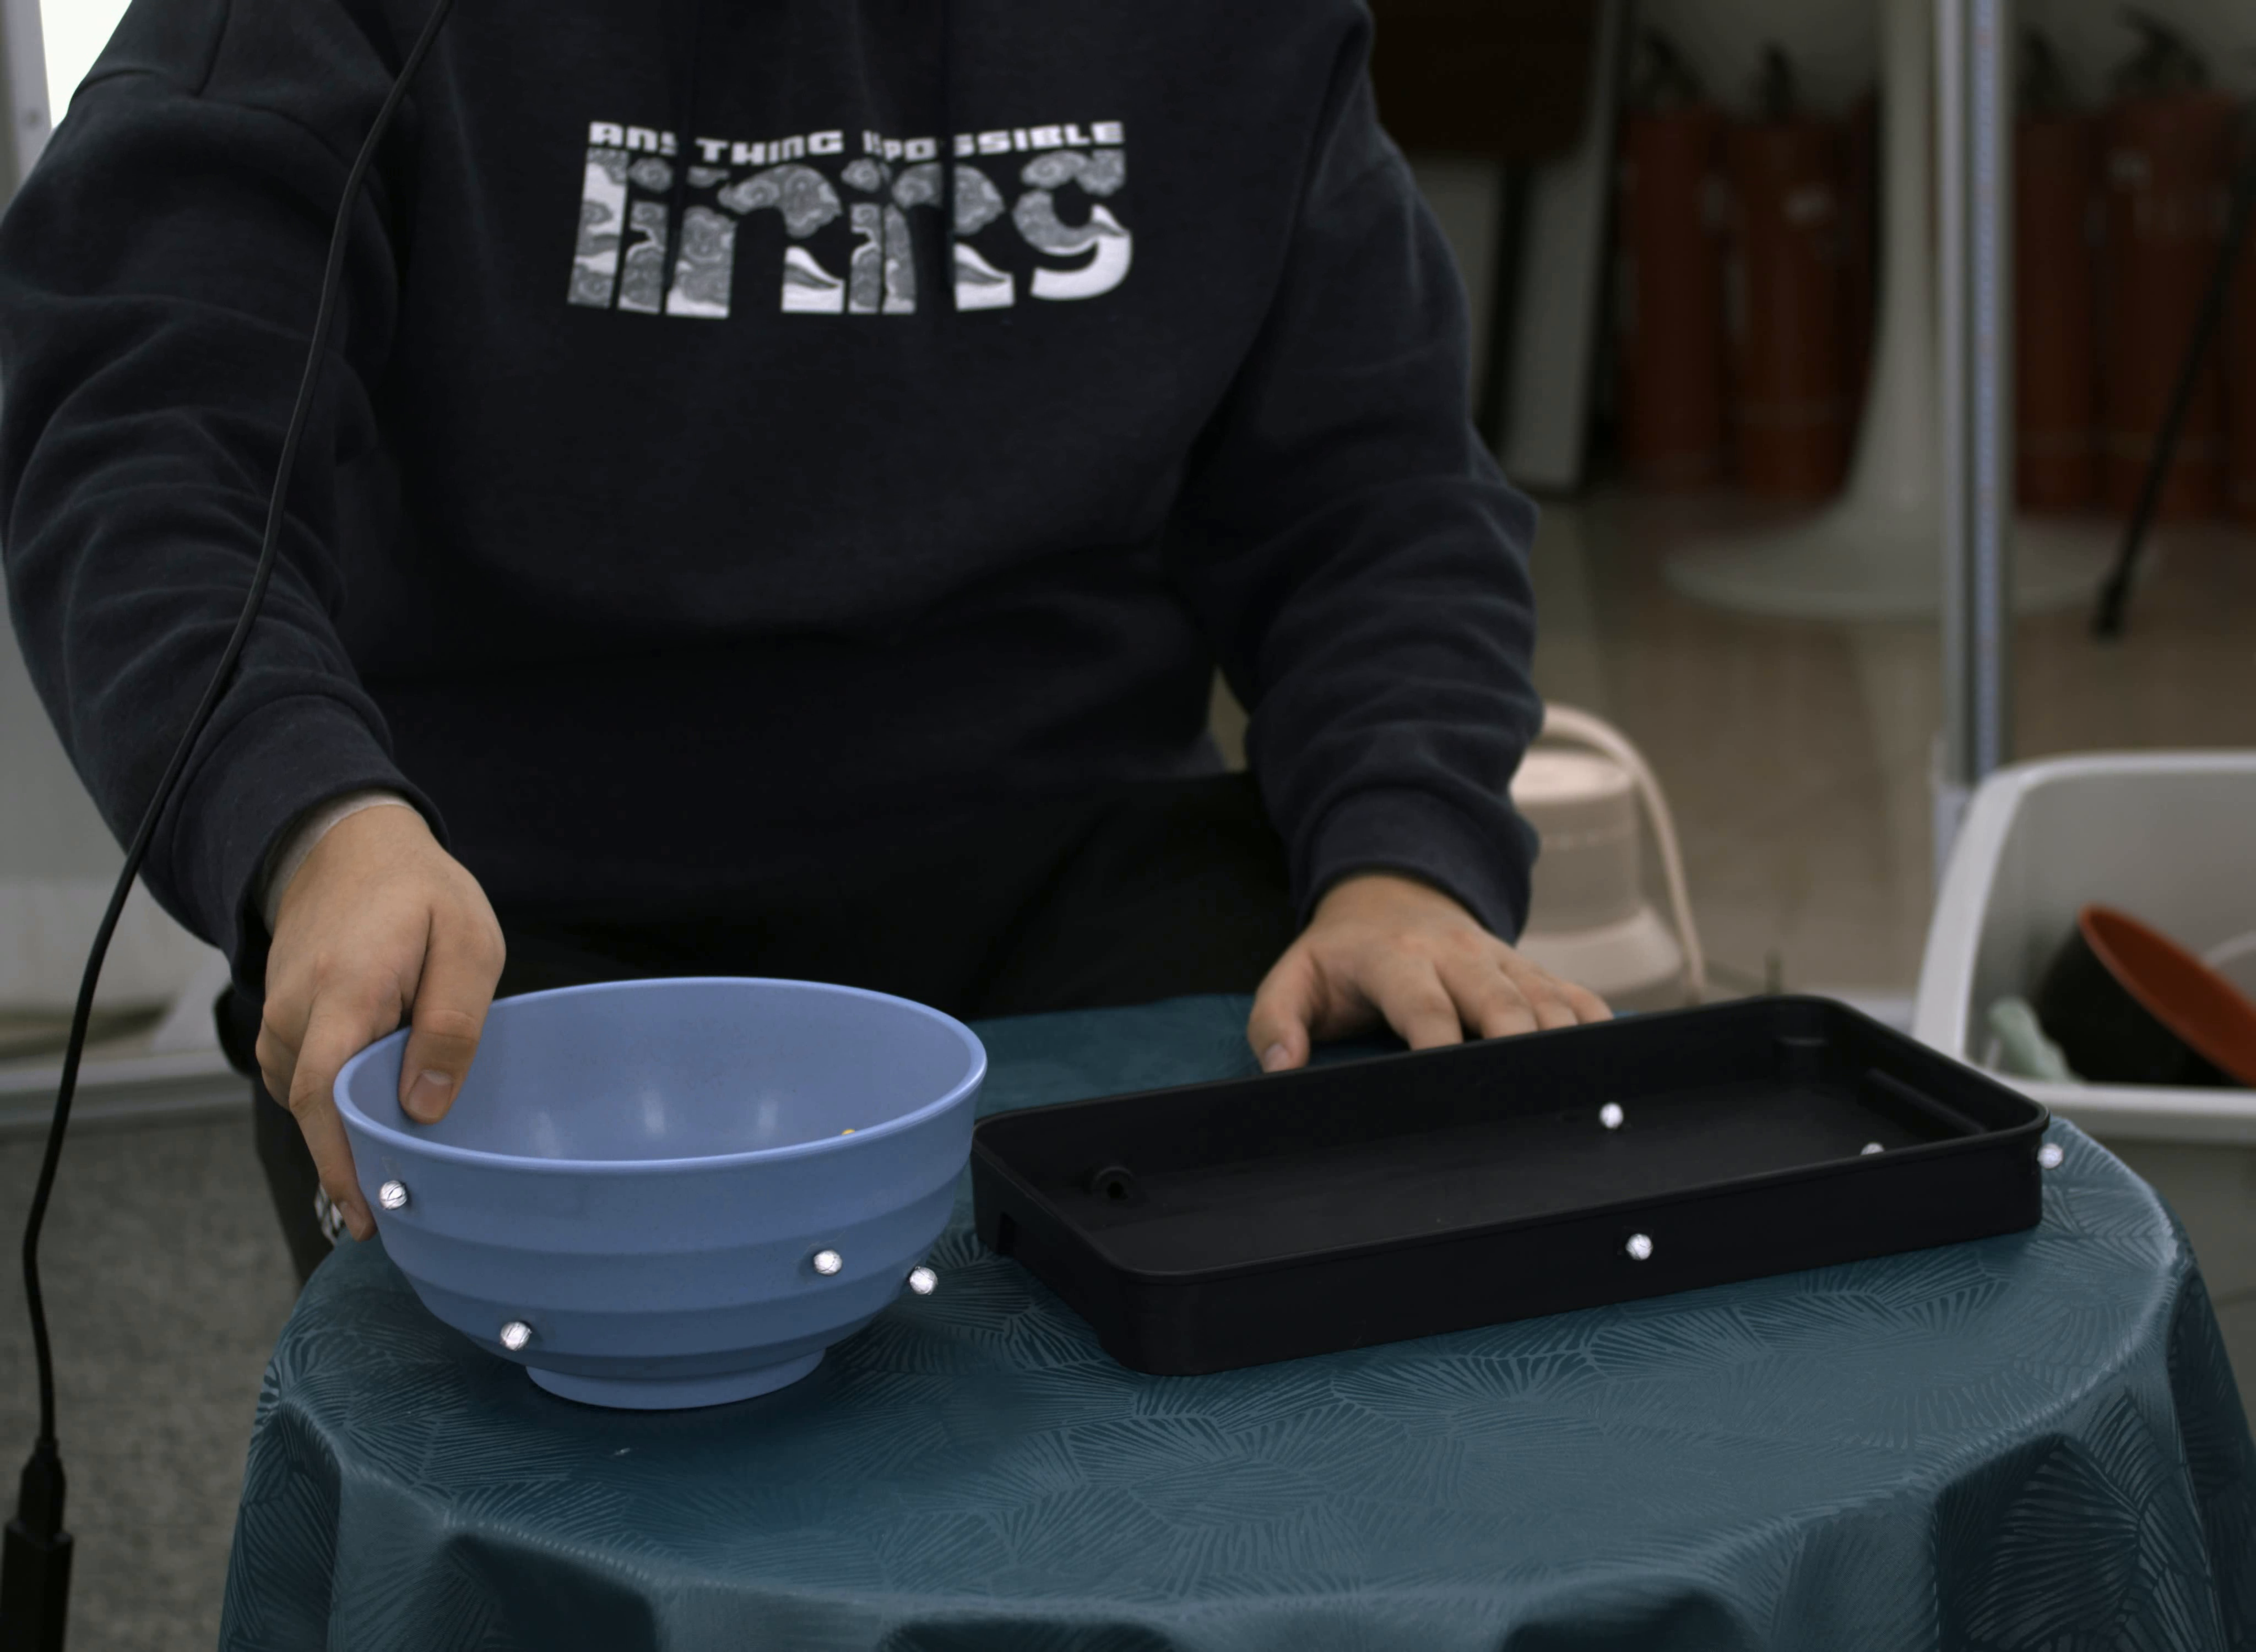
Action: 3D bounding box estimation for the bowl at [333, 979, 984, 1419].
[{"bbox_3d":[-0.137,0.117,1.626,0.194,0.096,0.197,-4,14,0],"label":"bowl"}]

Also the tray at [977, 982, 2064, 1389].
[{"bbox_3d":[0.124,0.110,1.714,0.311,0.037,0.186,-10,14,-19],"label":"tray"}]
